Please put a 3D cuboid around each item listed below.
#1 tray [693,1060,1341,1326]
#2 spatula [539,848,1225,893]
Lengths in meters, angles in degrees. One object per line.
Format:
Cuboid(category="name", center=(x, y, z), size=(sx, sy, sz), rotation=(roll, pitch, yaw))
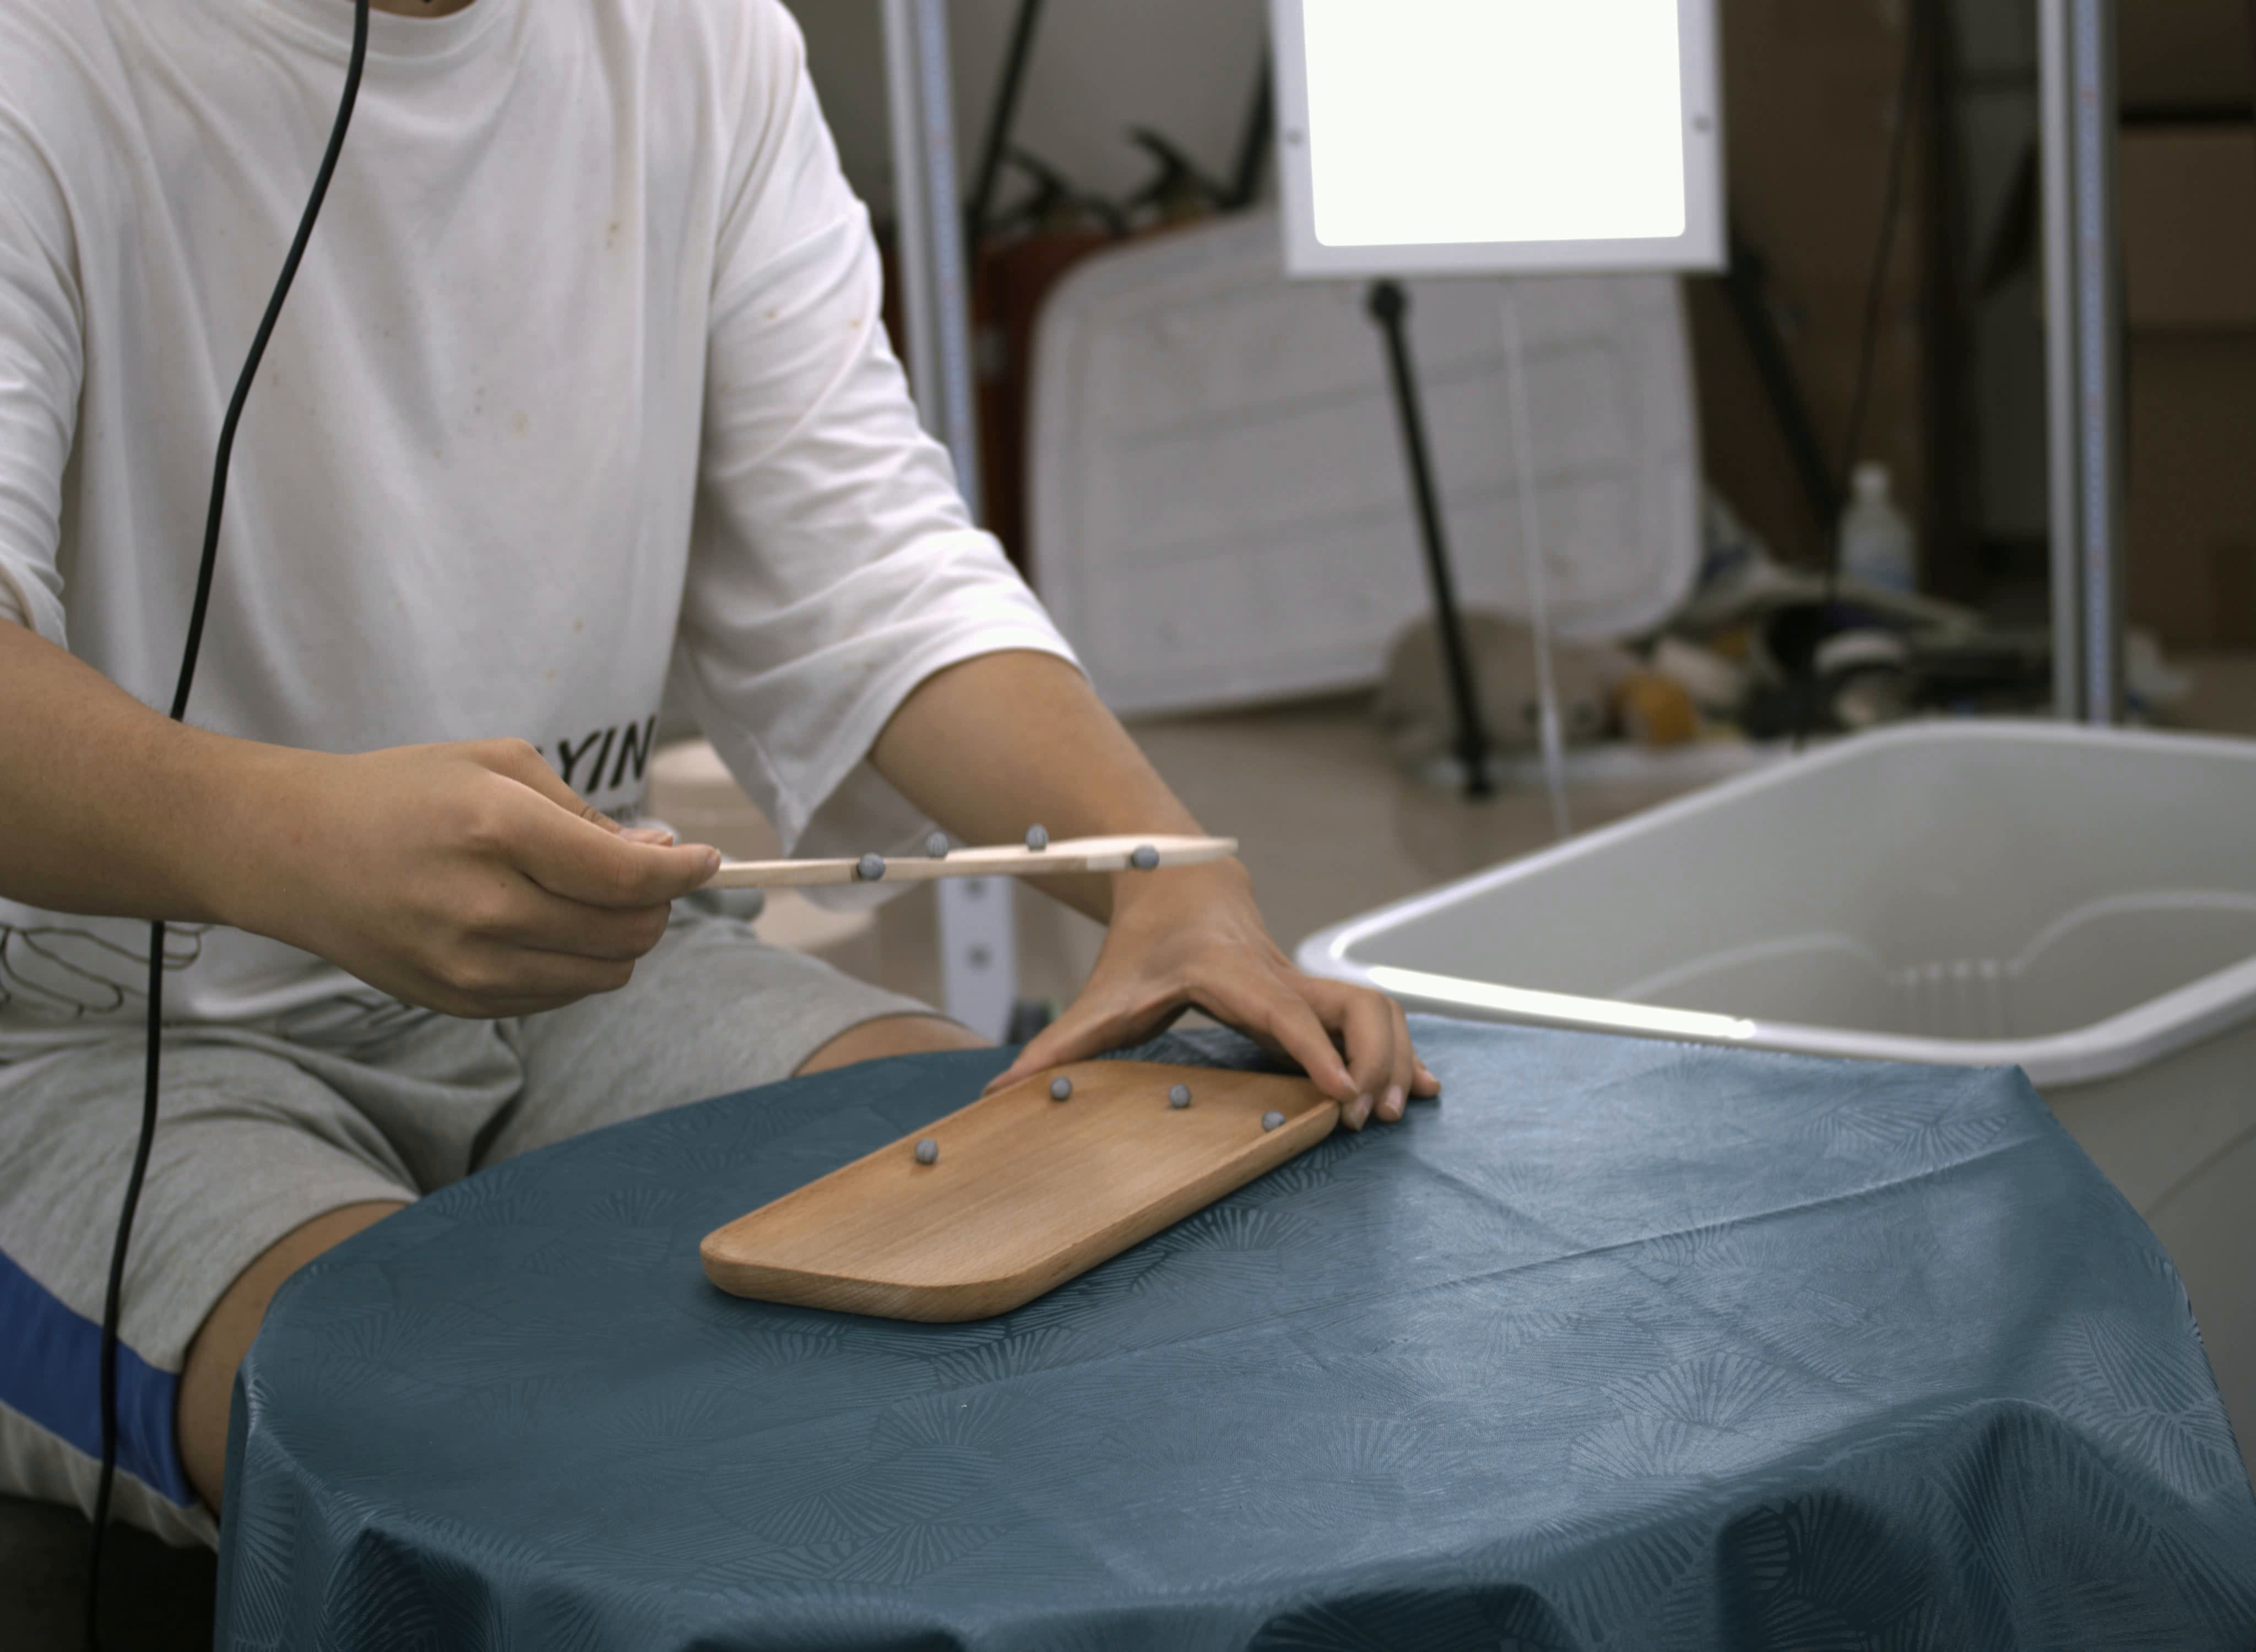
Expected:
Cuboid(category="tray", center=(-0.034, 0.124, 1.893), size=(0.133, 0.023, 0.244), rotation=(1, 15, 36))
Cuboid(category="spatula", center=(-0.081, 0.015, 1.791), size=(0.074, 0.011, 0.285), rotation=(2, 2, 40))
